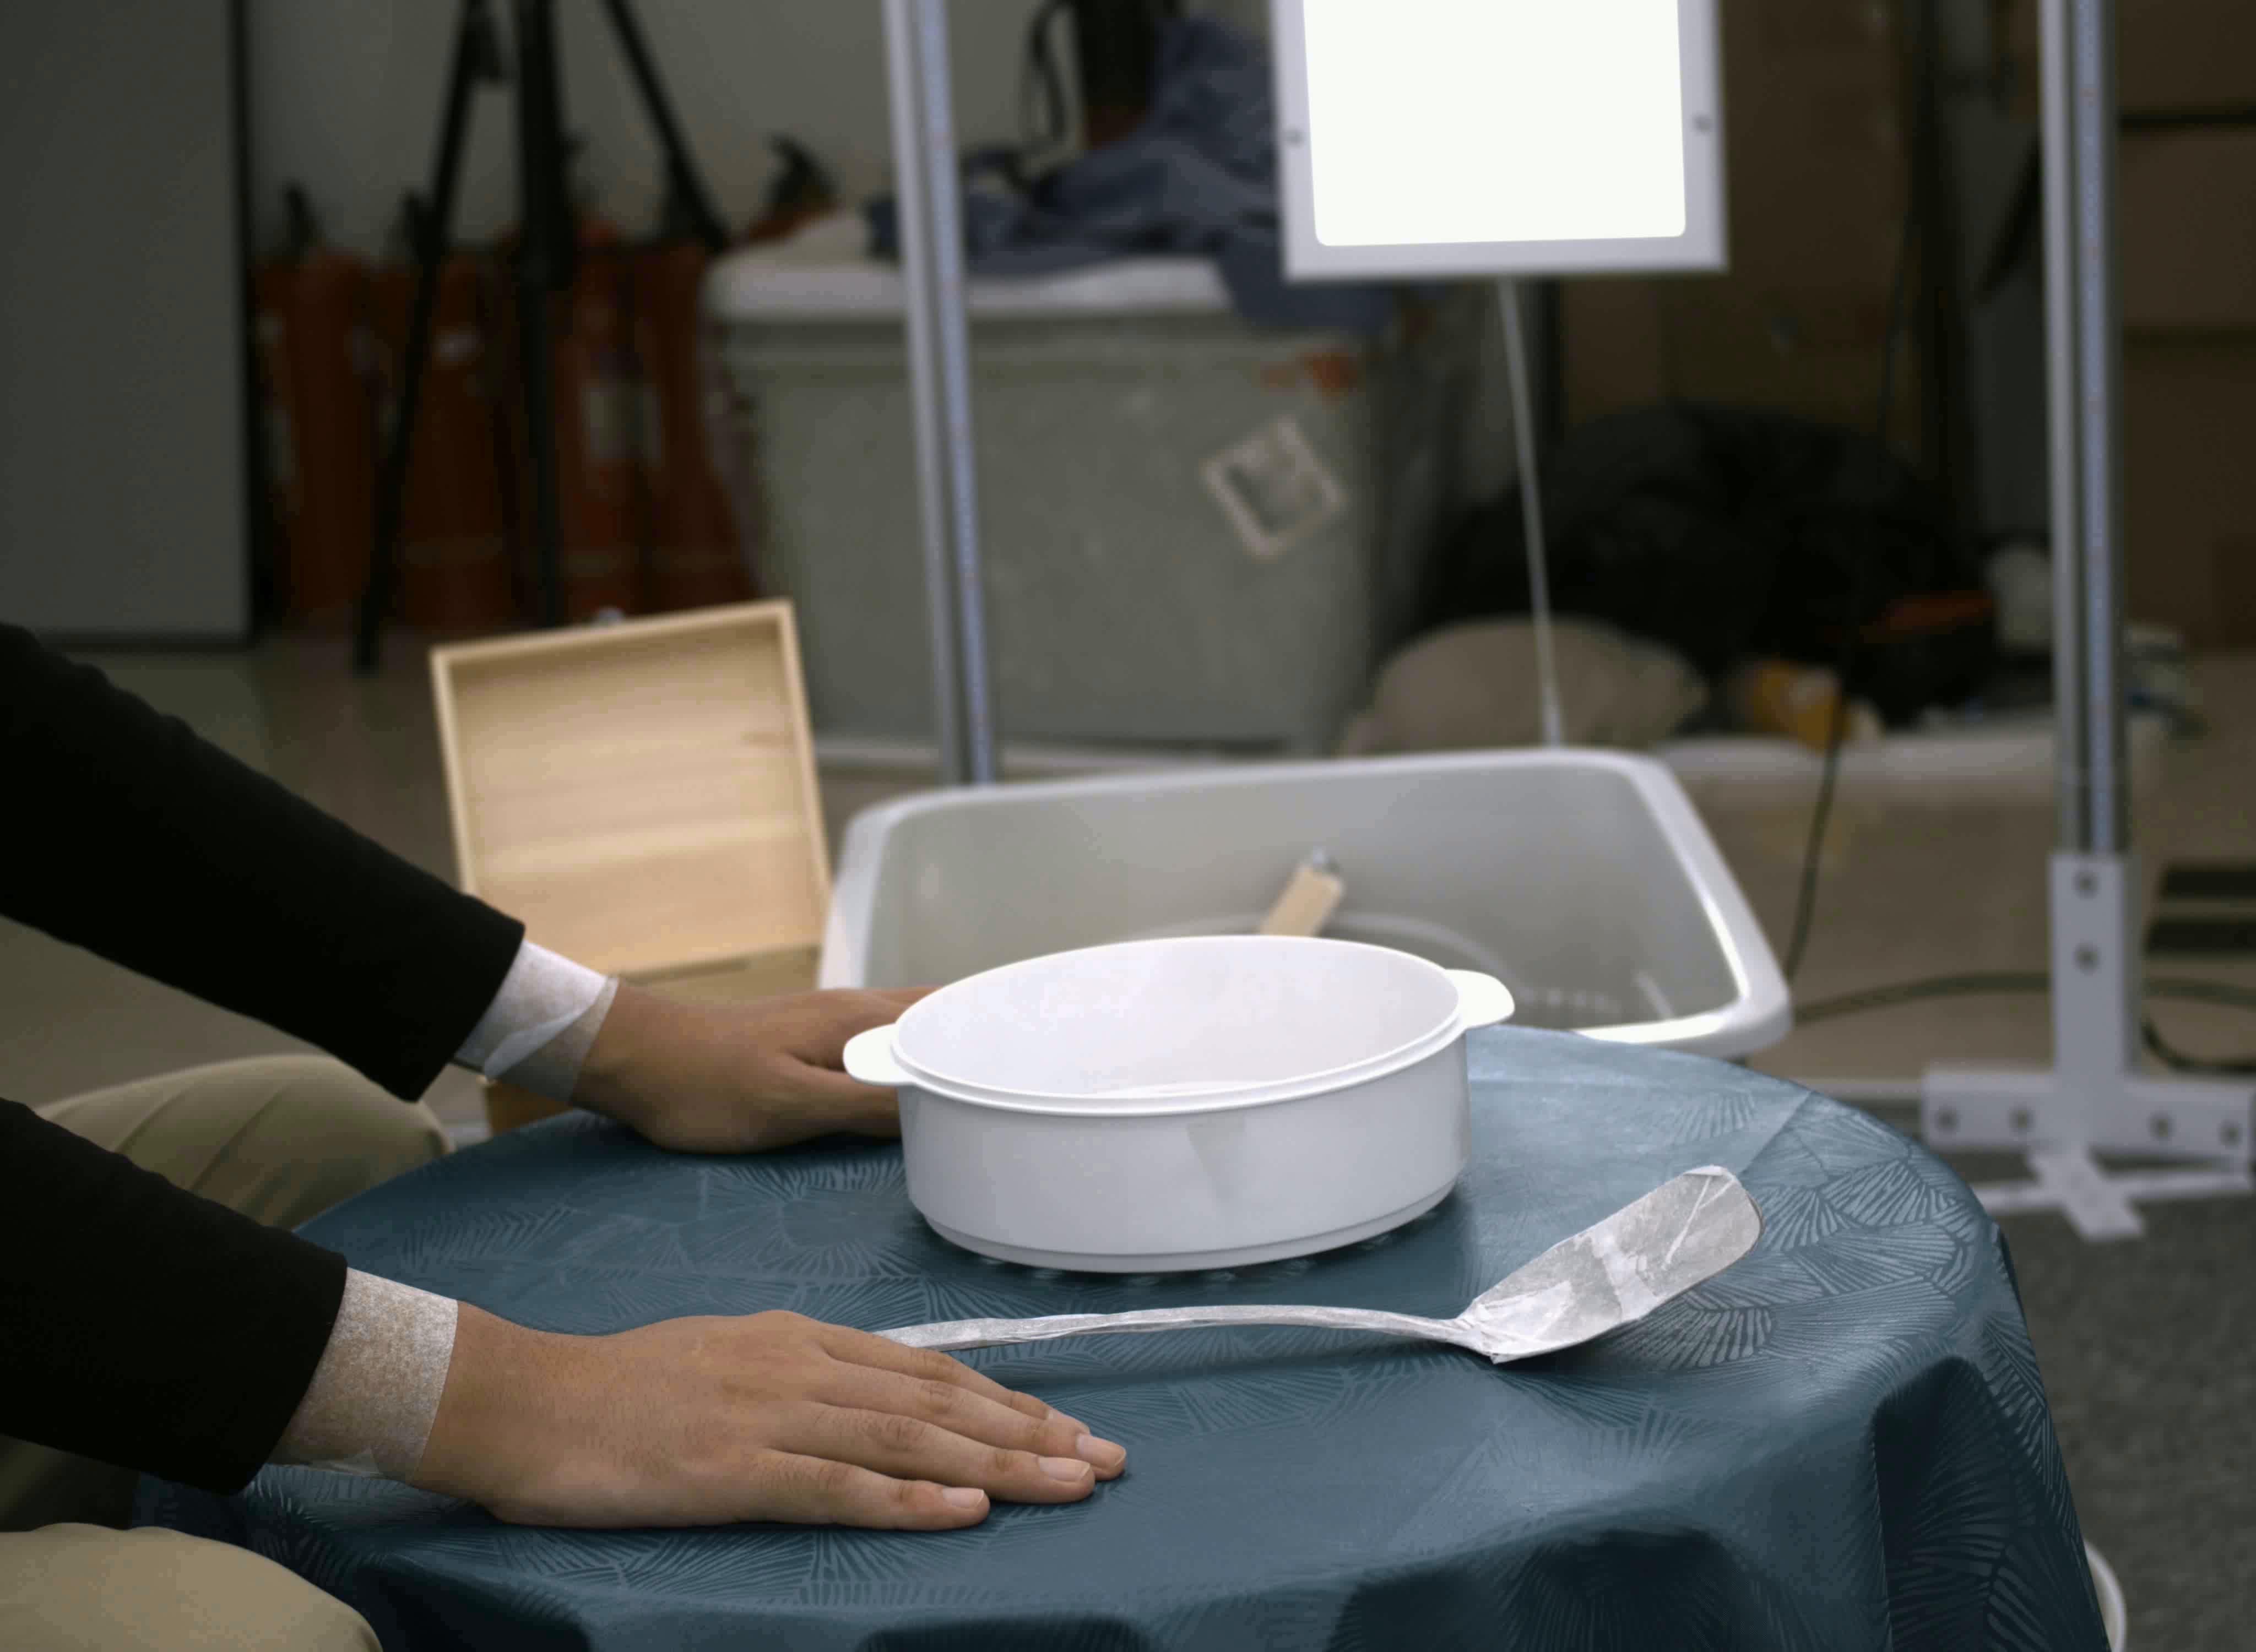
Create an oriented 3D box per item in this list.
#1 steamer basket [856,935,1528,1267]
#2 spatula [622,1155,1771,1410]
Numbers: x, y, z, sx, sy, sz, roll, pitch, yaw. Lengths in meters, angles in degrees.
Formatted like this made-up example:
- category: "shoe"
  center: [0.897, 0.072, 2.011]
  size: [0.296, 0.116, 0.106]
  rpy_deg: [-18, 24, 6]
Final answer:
- category: "steamer basket"
  center: [0.024, 0.094, 1.876]
  size: [0.229, 0.069, 0.202]
  rpy_deg: [-7, 13, -2]
- category: "spatula"
  center: [0.020, 0.149, 1.718]
  size: [0.364, 0.045, 0.098]
  rpy_deg: [-5, 16, 2]
